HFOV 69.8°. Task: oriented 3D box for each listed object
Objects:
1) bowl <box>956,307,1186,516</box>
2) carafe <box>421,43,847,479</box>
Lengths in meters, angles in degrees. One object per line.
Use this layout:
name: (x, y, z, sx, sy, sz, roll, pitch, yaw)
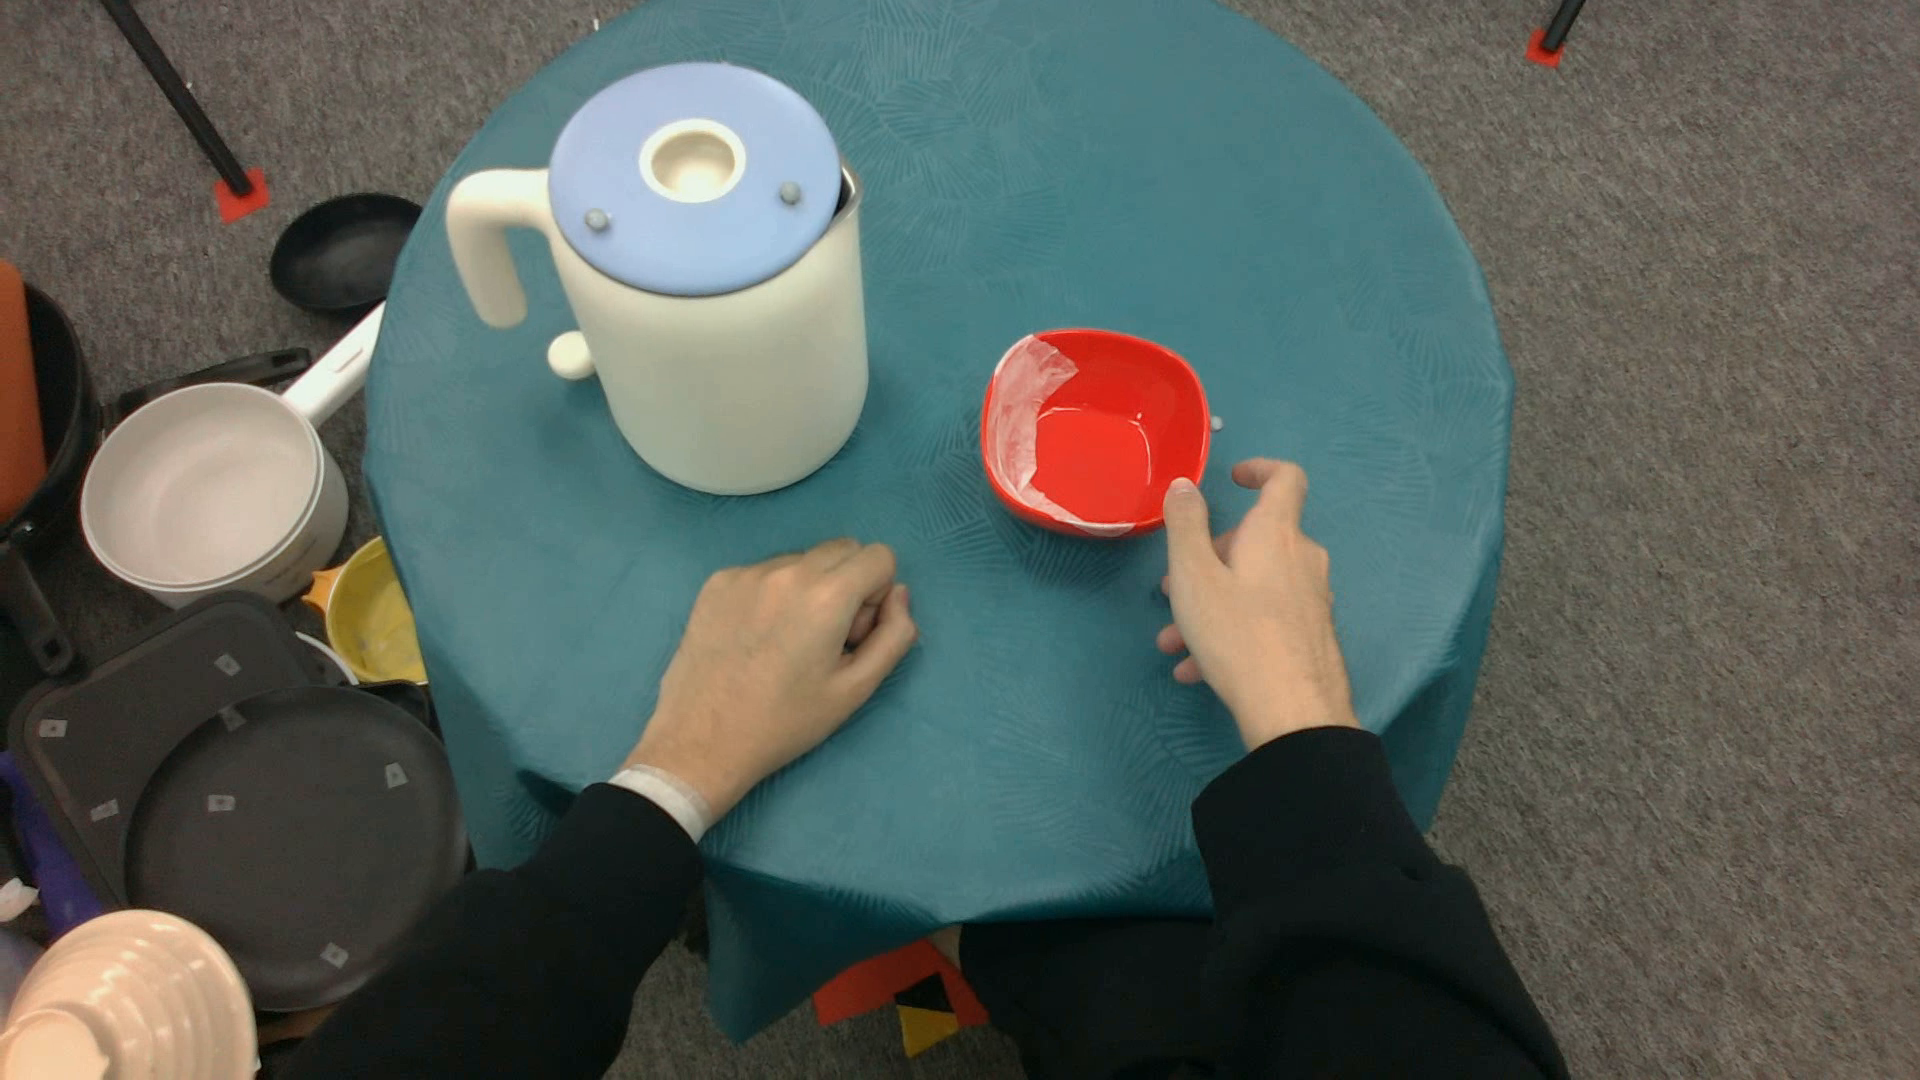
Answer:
bowl: (0.051, -0.055, 0.678, 0.119, 0.051, 0.119, 3, 62, -5)
carafe: (-0.146, -0.123, 0.636, 0.191, 0.182, 0.133, 2, 63, 0)
